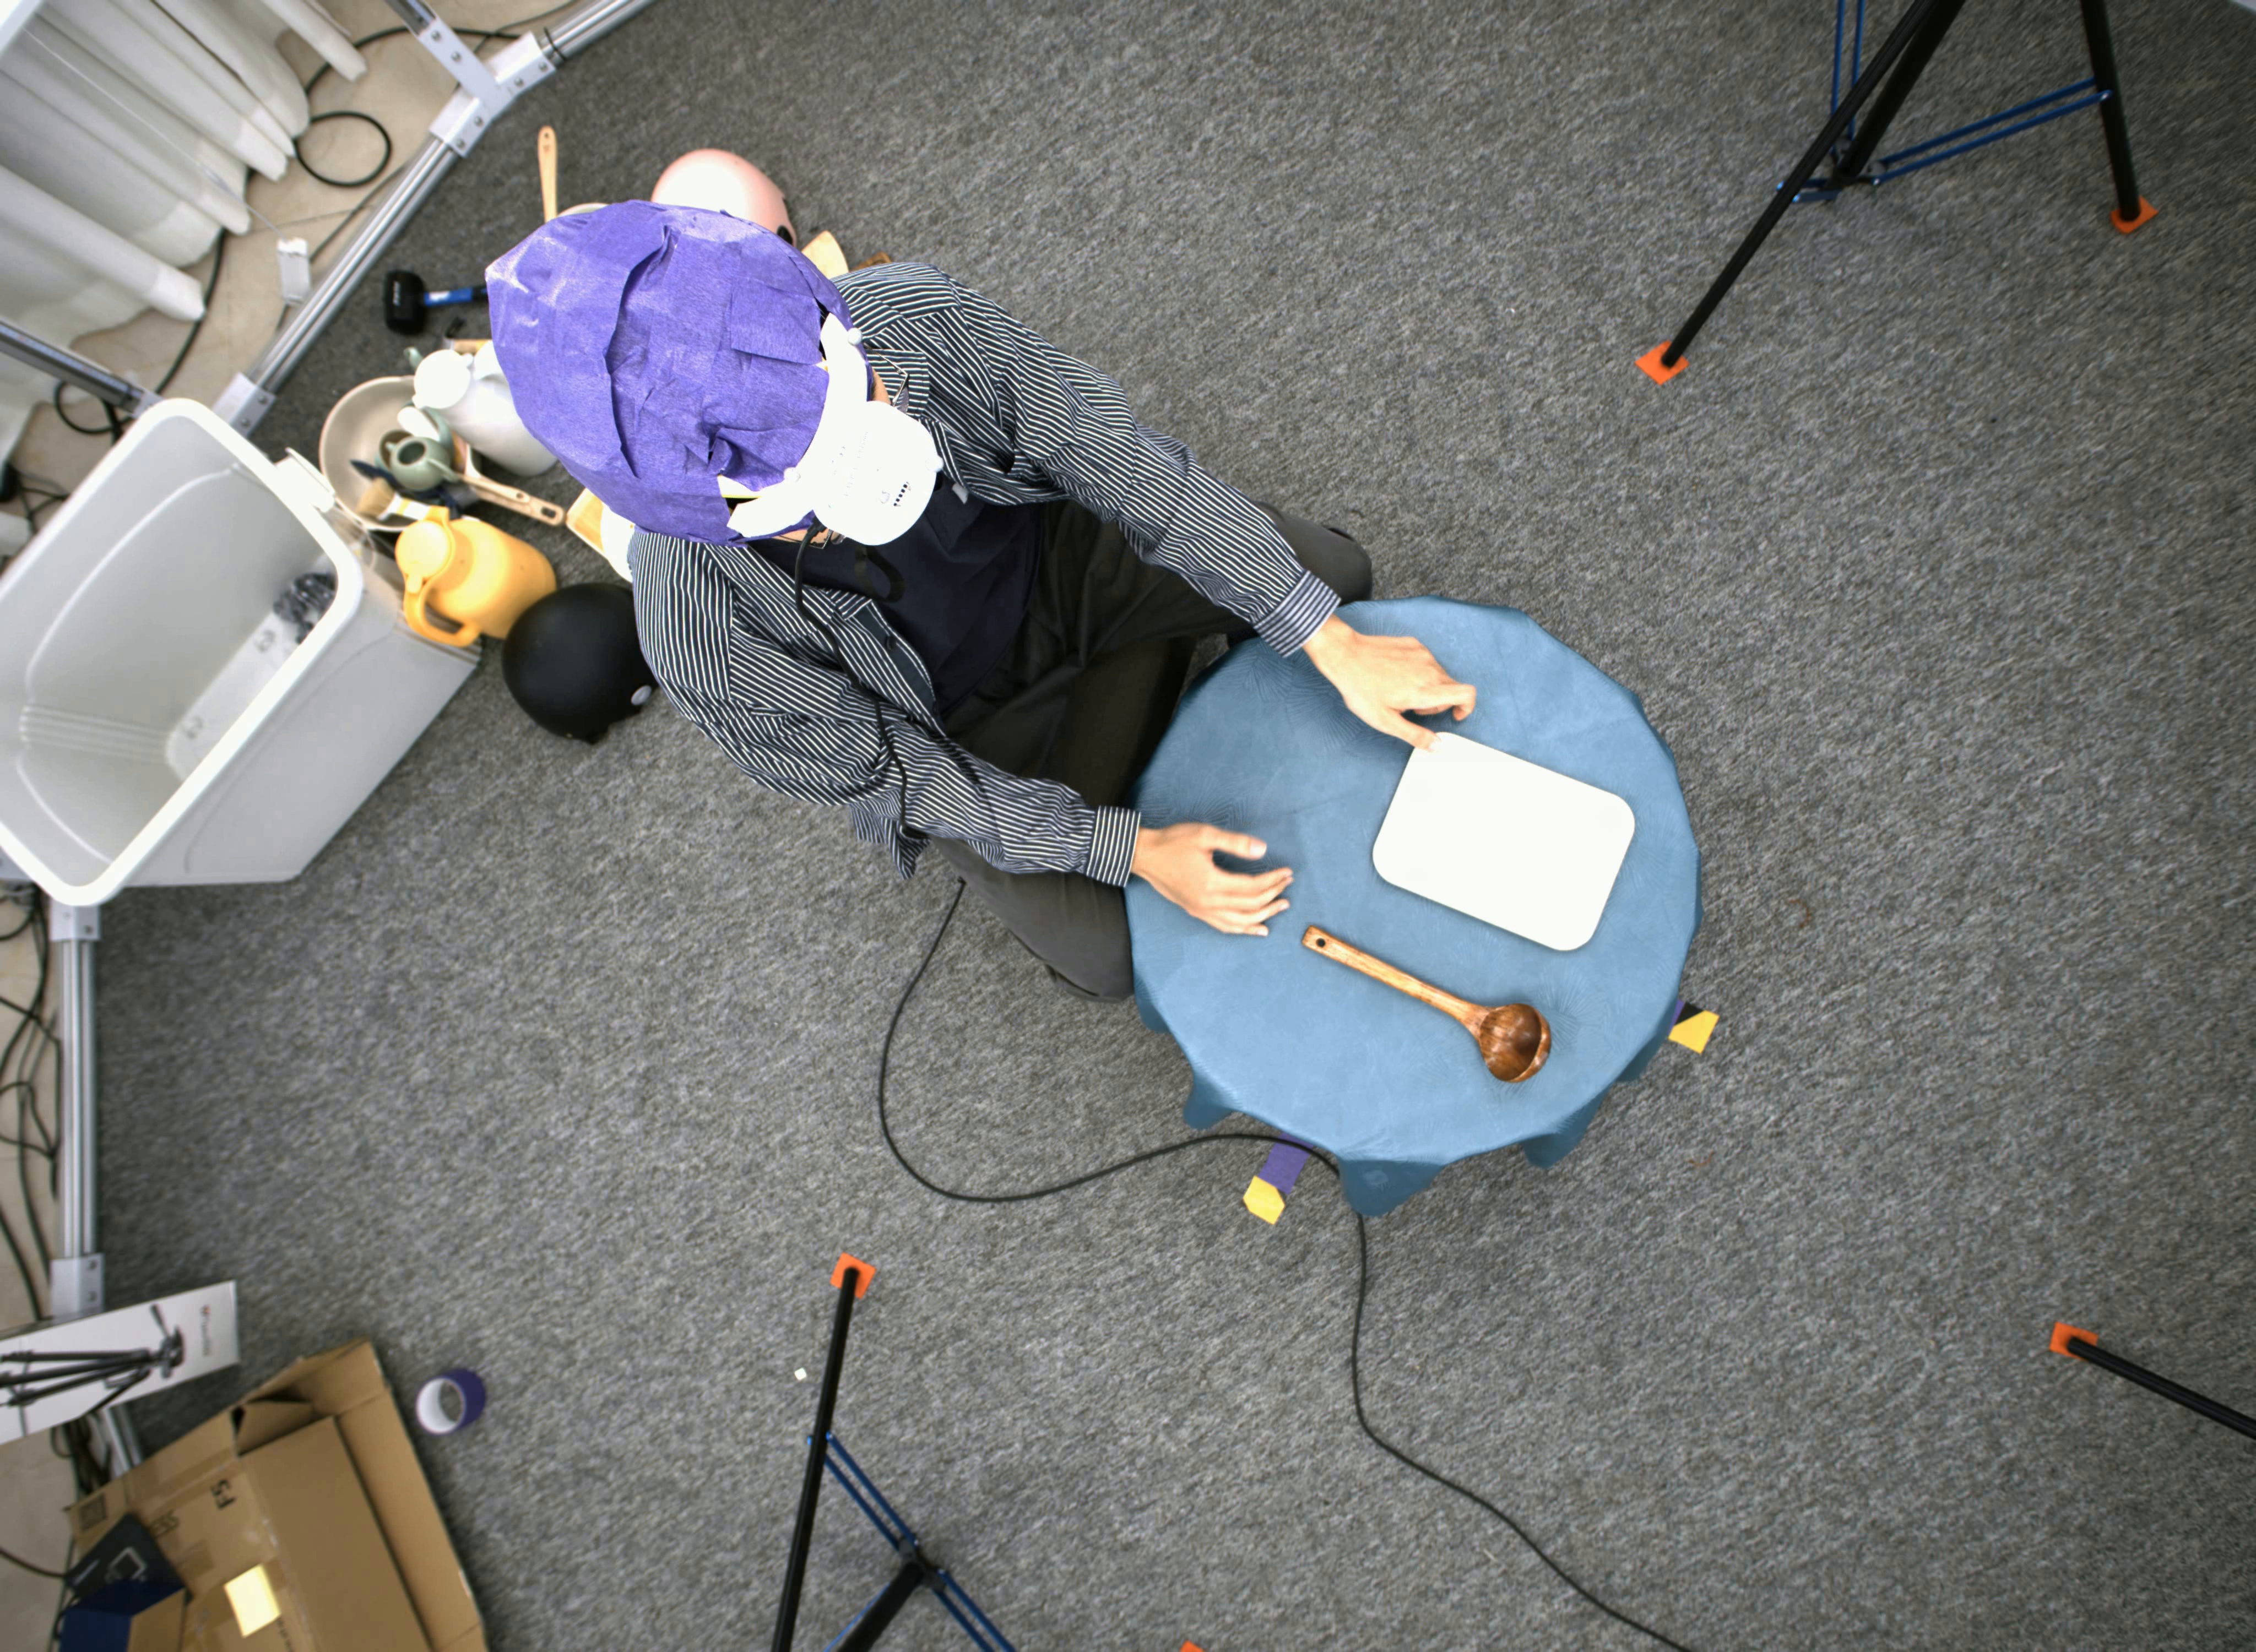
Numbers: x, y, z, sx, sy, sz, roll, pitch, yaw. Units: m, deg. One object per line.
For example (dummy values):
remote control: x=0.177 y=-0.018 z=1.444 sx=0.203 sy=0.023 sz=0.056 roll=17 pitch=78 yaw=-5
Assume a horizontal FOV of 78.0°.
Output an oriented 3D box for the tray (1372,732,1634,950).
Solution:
tray: x=0.386 y=0.012 z=1.421 sx=0.239 sy=0.017 sz=0.171 roll=22 pitch=91 yaw=10

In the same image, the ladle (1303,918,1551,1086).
ladle: x=0.297 y=0.170 z=1.401 sx=0.274 sy=0.076 sz=0.082 roll=28 pitch=96 yaw=10
